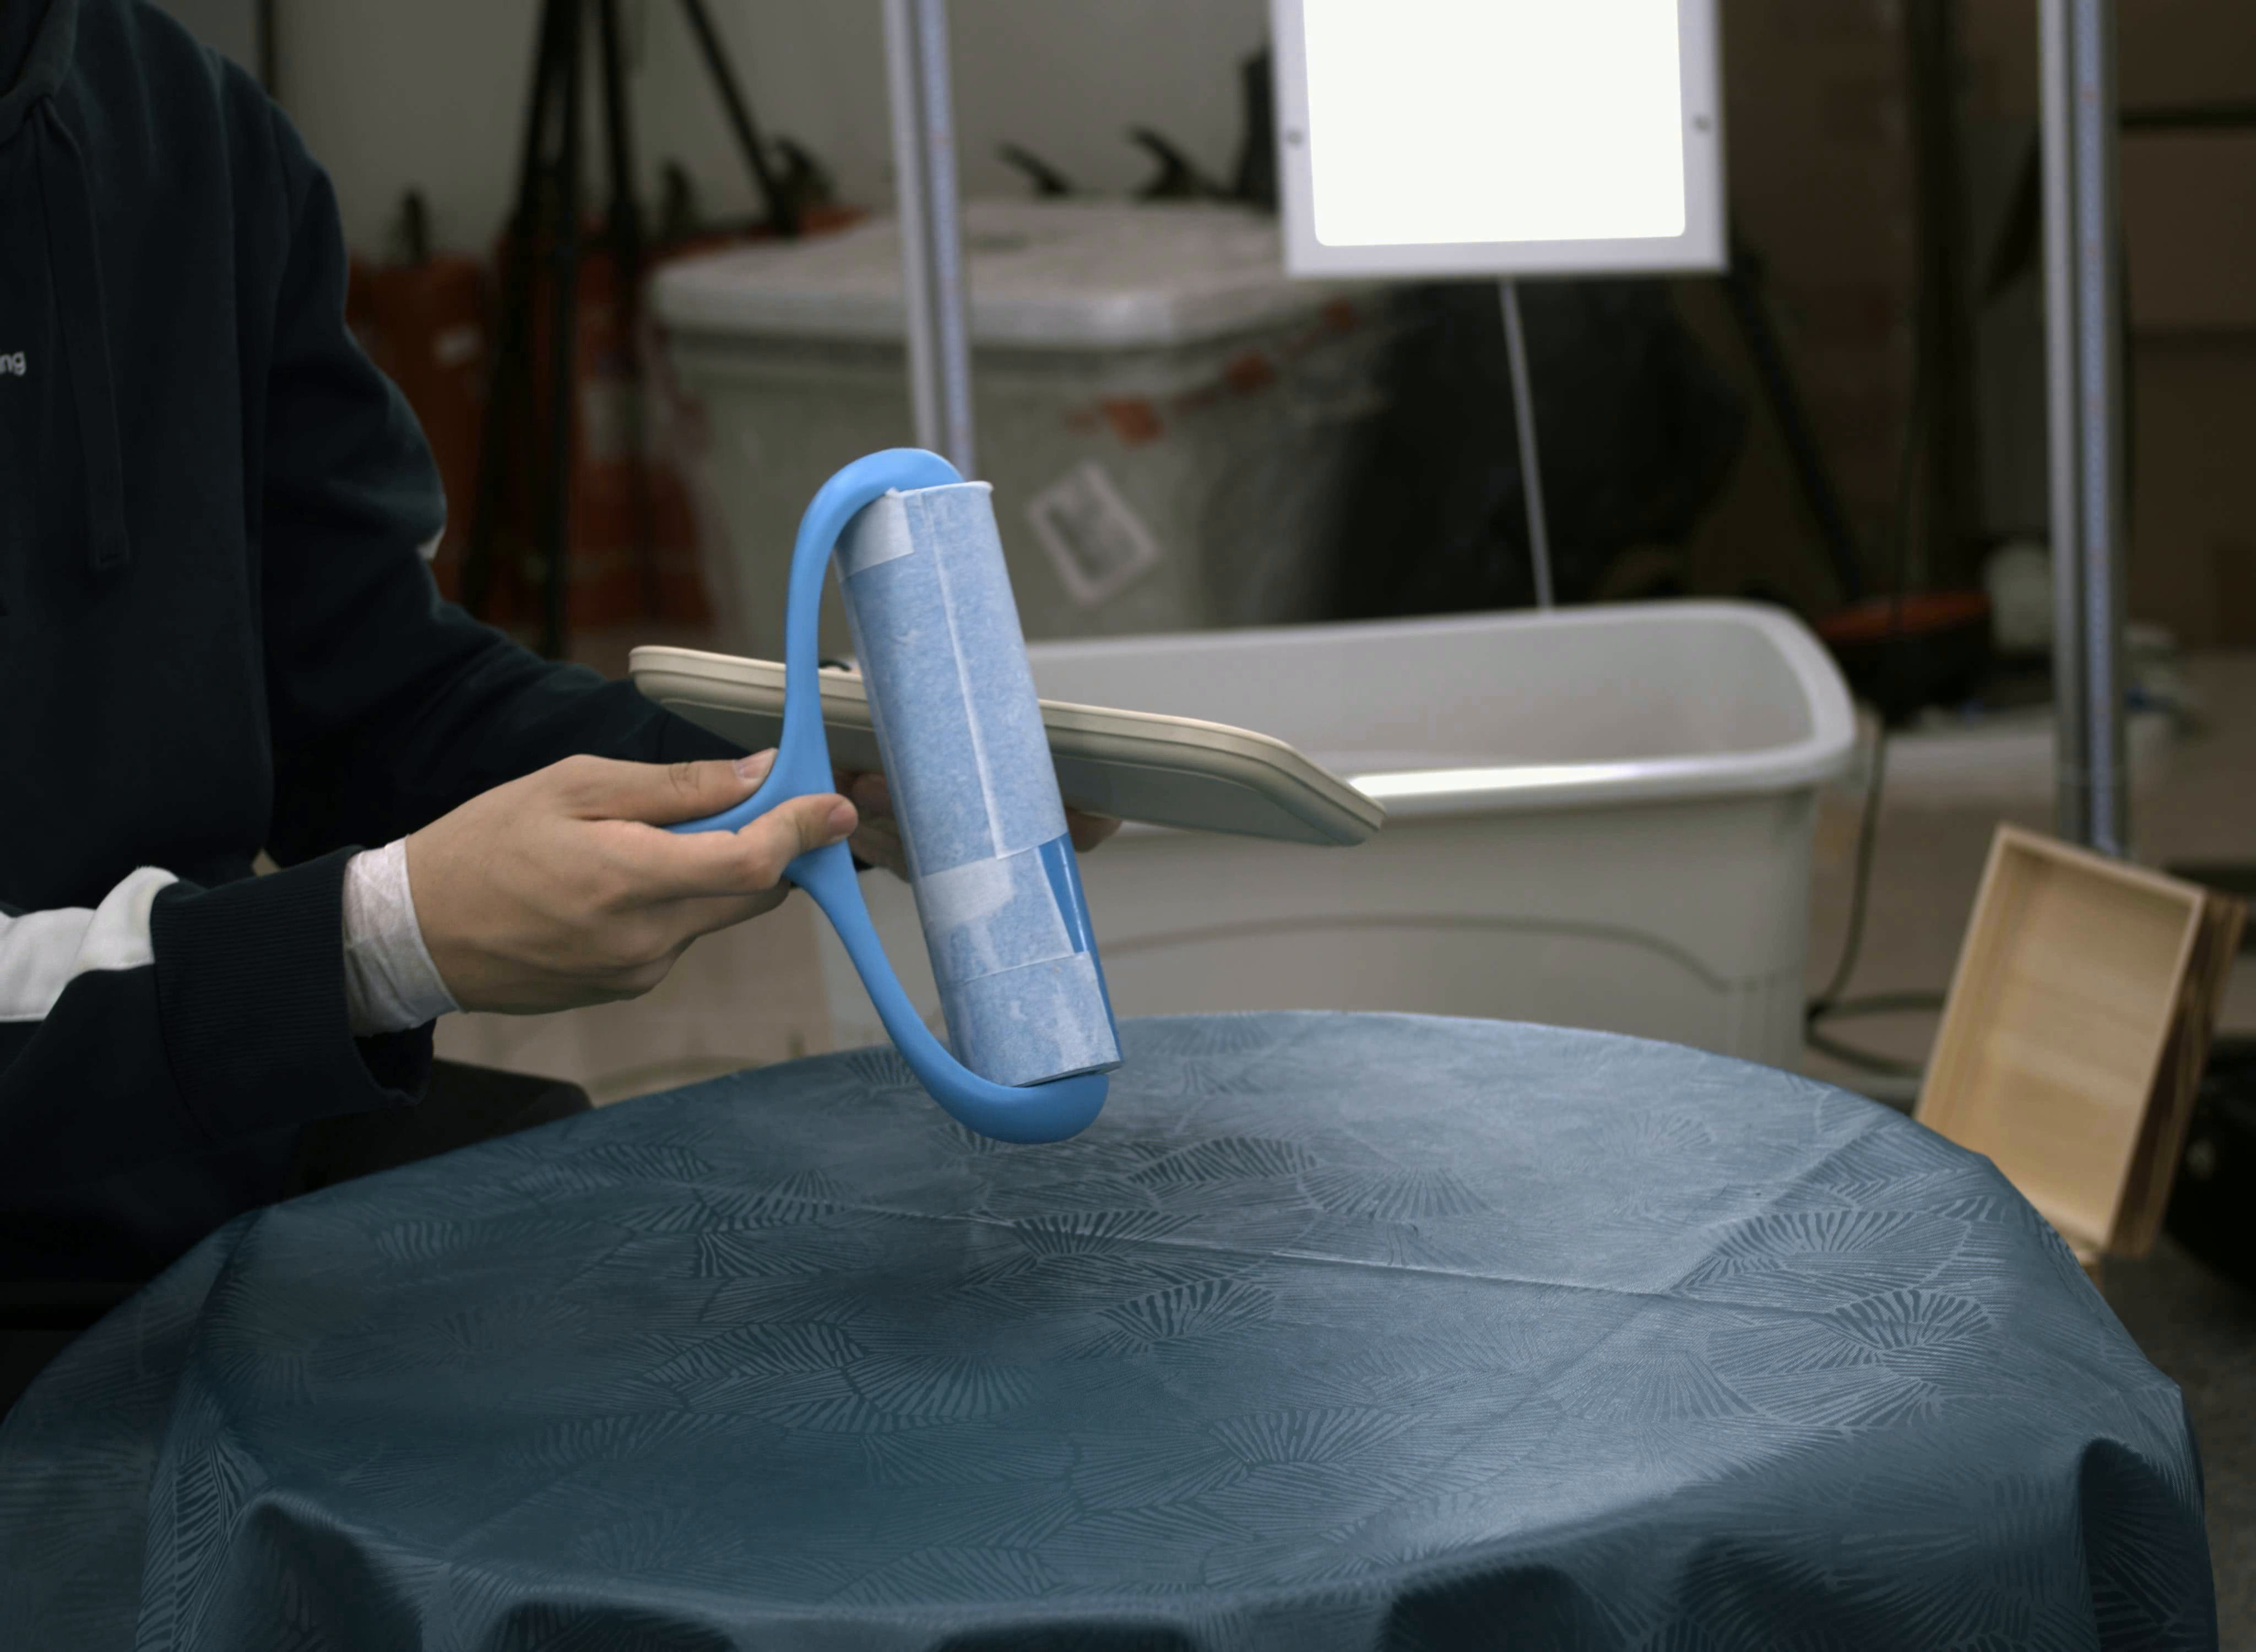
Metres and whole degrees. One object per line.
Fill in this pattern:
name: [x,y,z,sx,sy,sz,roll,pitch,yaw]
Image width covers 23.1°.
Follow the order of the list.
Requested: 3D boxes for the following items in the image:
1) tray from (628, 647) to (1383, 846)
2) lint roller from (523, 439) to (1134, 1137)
tray: [-0.042,-0.025,1.879,0.243,0.017,0.169,8,-7,22]
lint roller: [-0.105,0.005,1.752,0.179,0.229,0.068,-17,-4,-3]
